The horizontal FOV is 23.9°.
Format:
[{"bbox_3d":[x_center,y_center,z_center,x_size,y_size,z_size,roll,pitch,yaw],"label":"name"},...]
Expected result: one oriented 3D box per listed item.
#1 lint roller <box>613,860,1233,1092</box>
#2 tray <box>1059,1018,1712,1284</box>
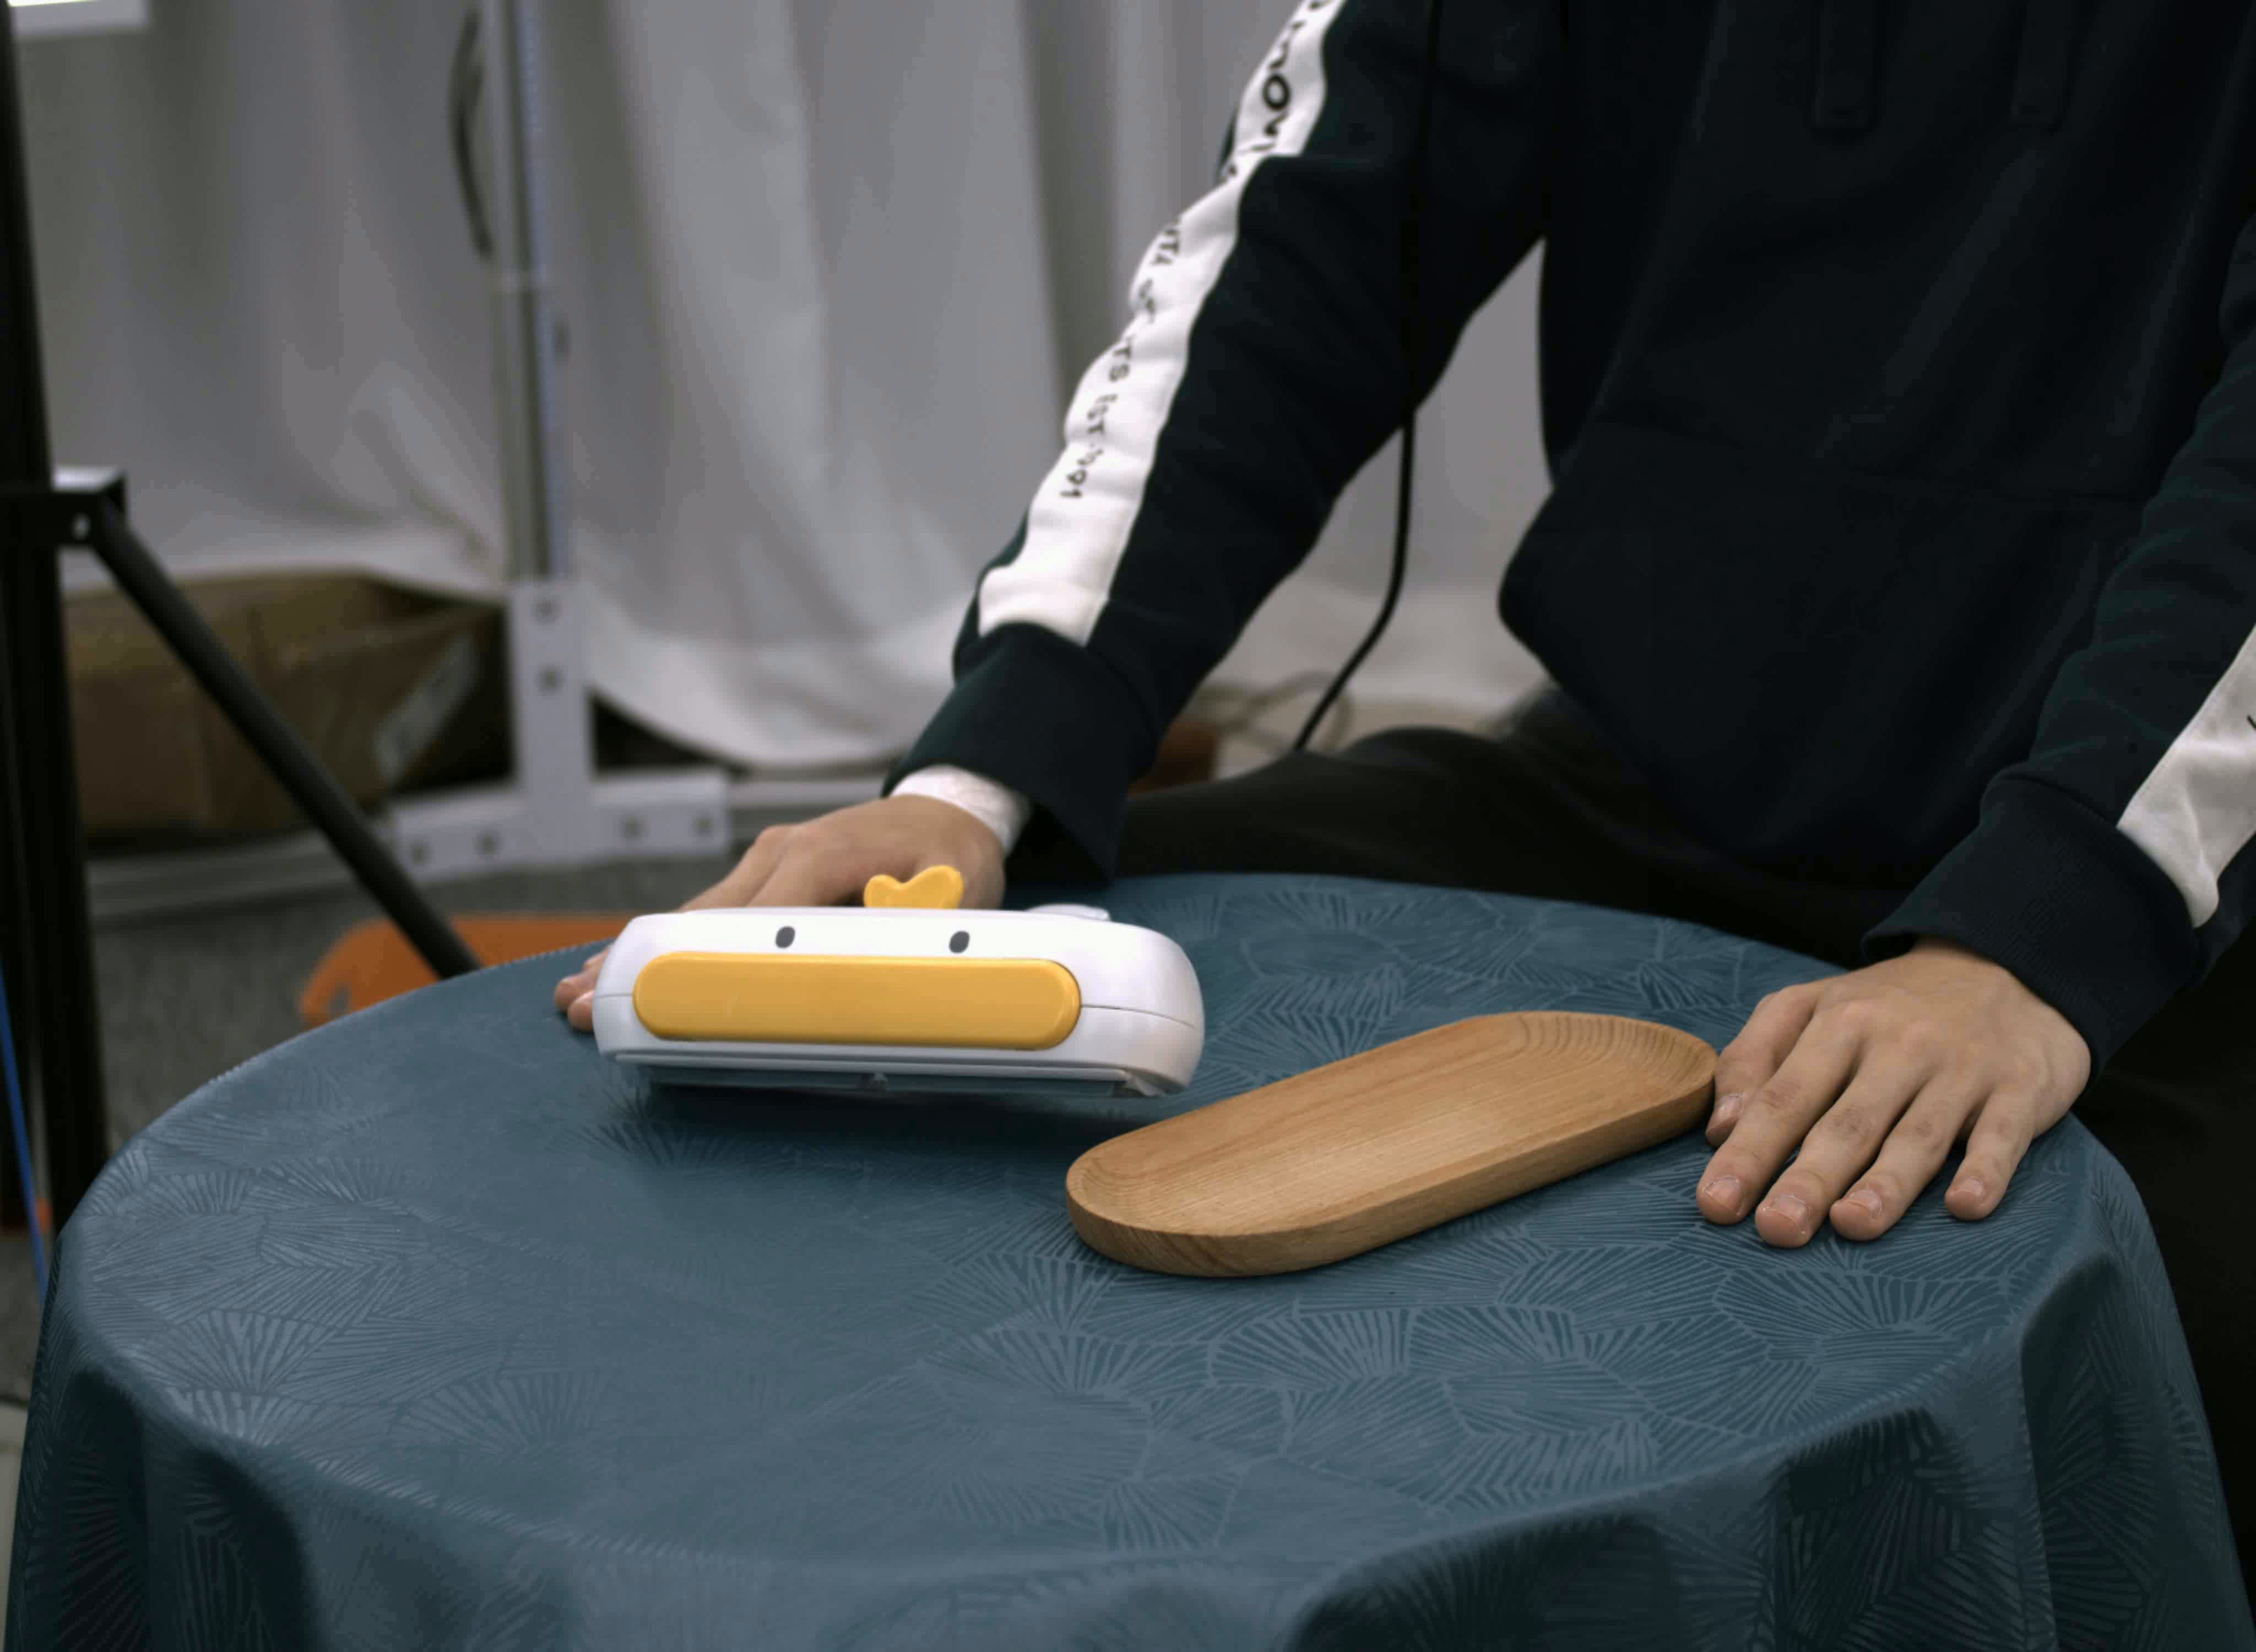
[{"bbox_3d":[-0.047,0.051,1.678,0.194,0.074,0.189,-4,-5,18],"label":"lint roller"},{"bbox_3d":[0.079,0.095,1.562,0.226,0.020,0.104,-17,21,-39],"label":"tray"}]
